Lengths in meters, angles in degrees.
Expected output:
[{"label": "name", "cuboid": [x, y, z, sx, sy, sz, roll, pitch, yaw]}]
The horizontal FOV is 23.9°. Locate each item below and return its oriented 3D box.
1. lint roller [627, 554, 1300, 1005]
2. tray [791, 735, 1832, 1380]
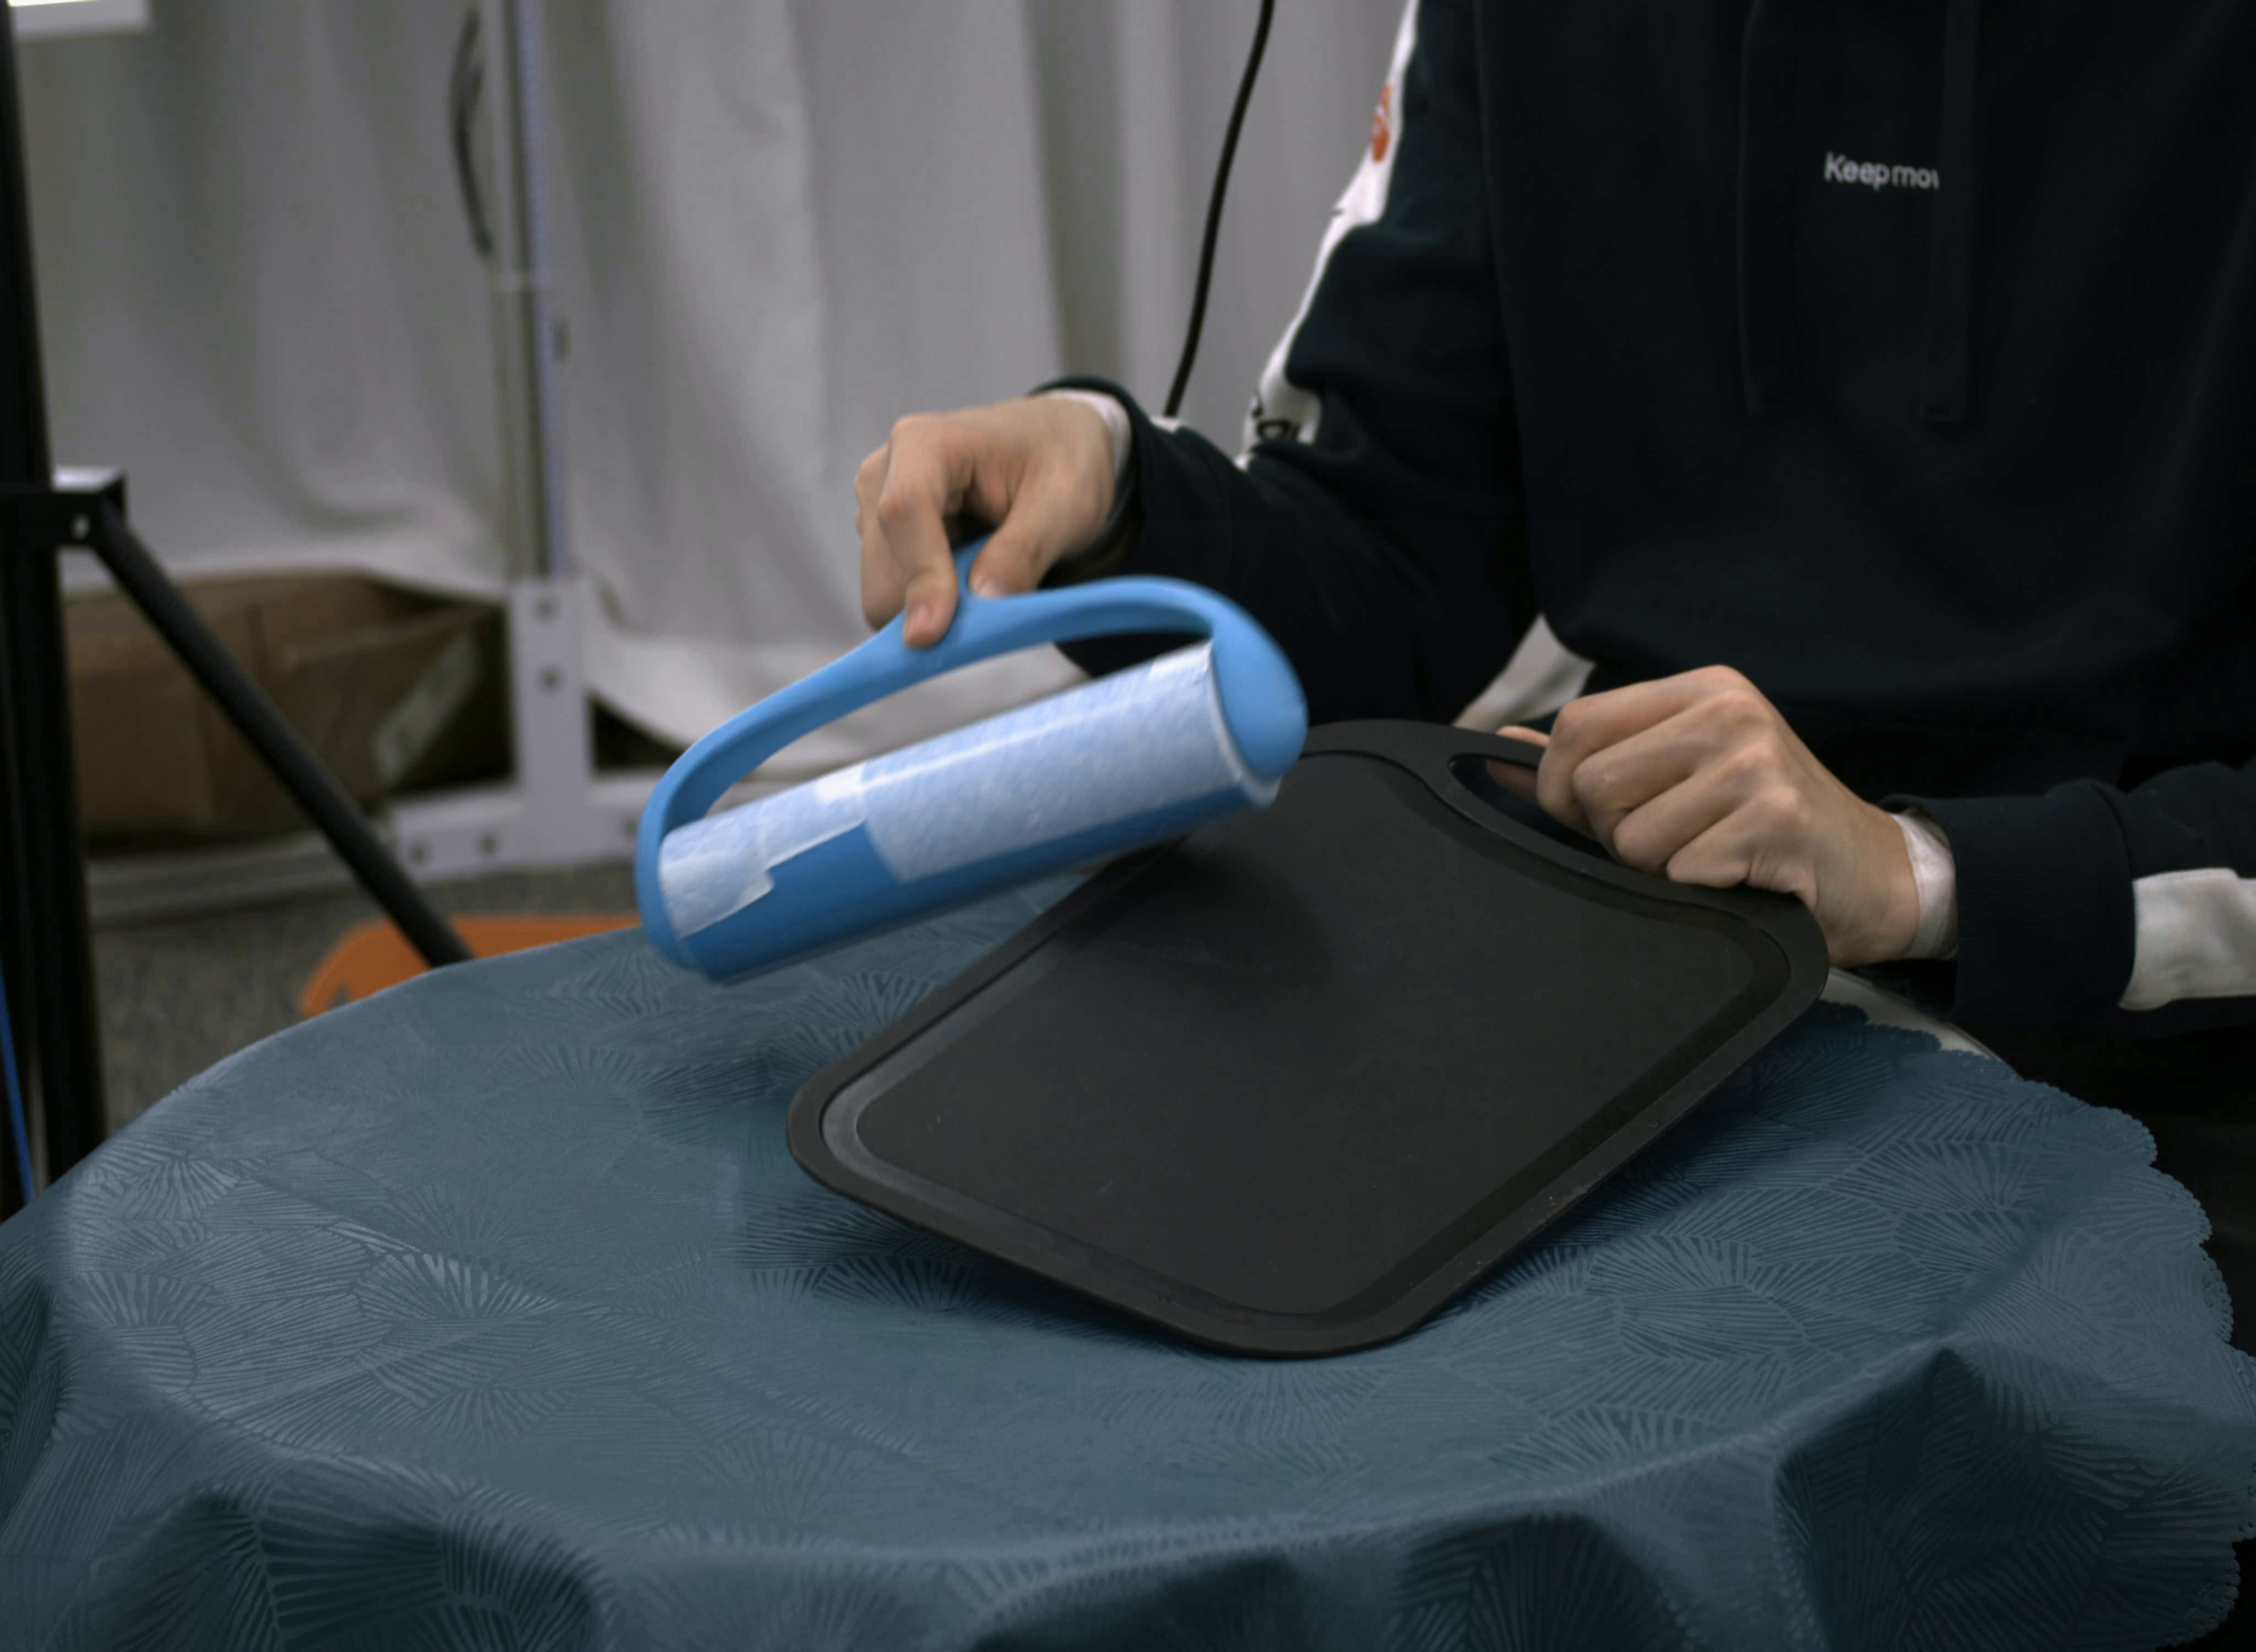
[{"label": "lint roller", "cuboid": [-0.053, -0.039, 1.697, 0.231, 0.066, 0.182, -21, 39, 19]}, {"label": "tray", "cuboid": [0.063, 0.055, 1.571, 0.215, 0.010, 0.320, 21, 38, 32]}]
